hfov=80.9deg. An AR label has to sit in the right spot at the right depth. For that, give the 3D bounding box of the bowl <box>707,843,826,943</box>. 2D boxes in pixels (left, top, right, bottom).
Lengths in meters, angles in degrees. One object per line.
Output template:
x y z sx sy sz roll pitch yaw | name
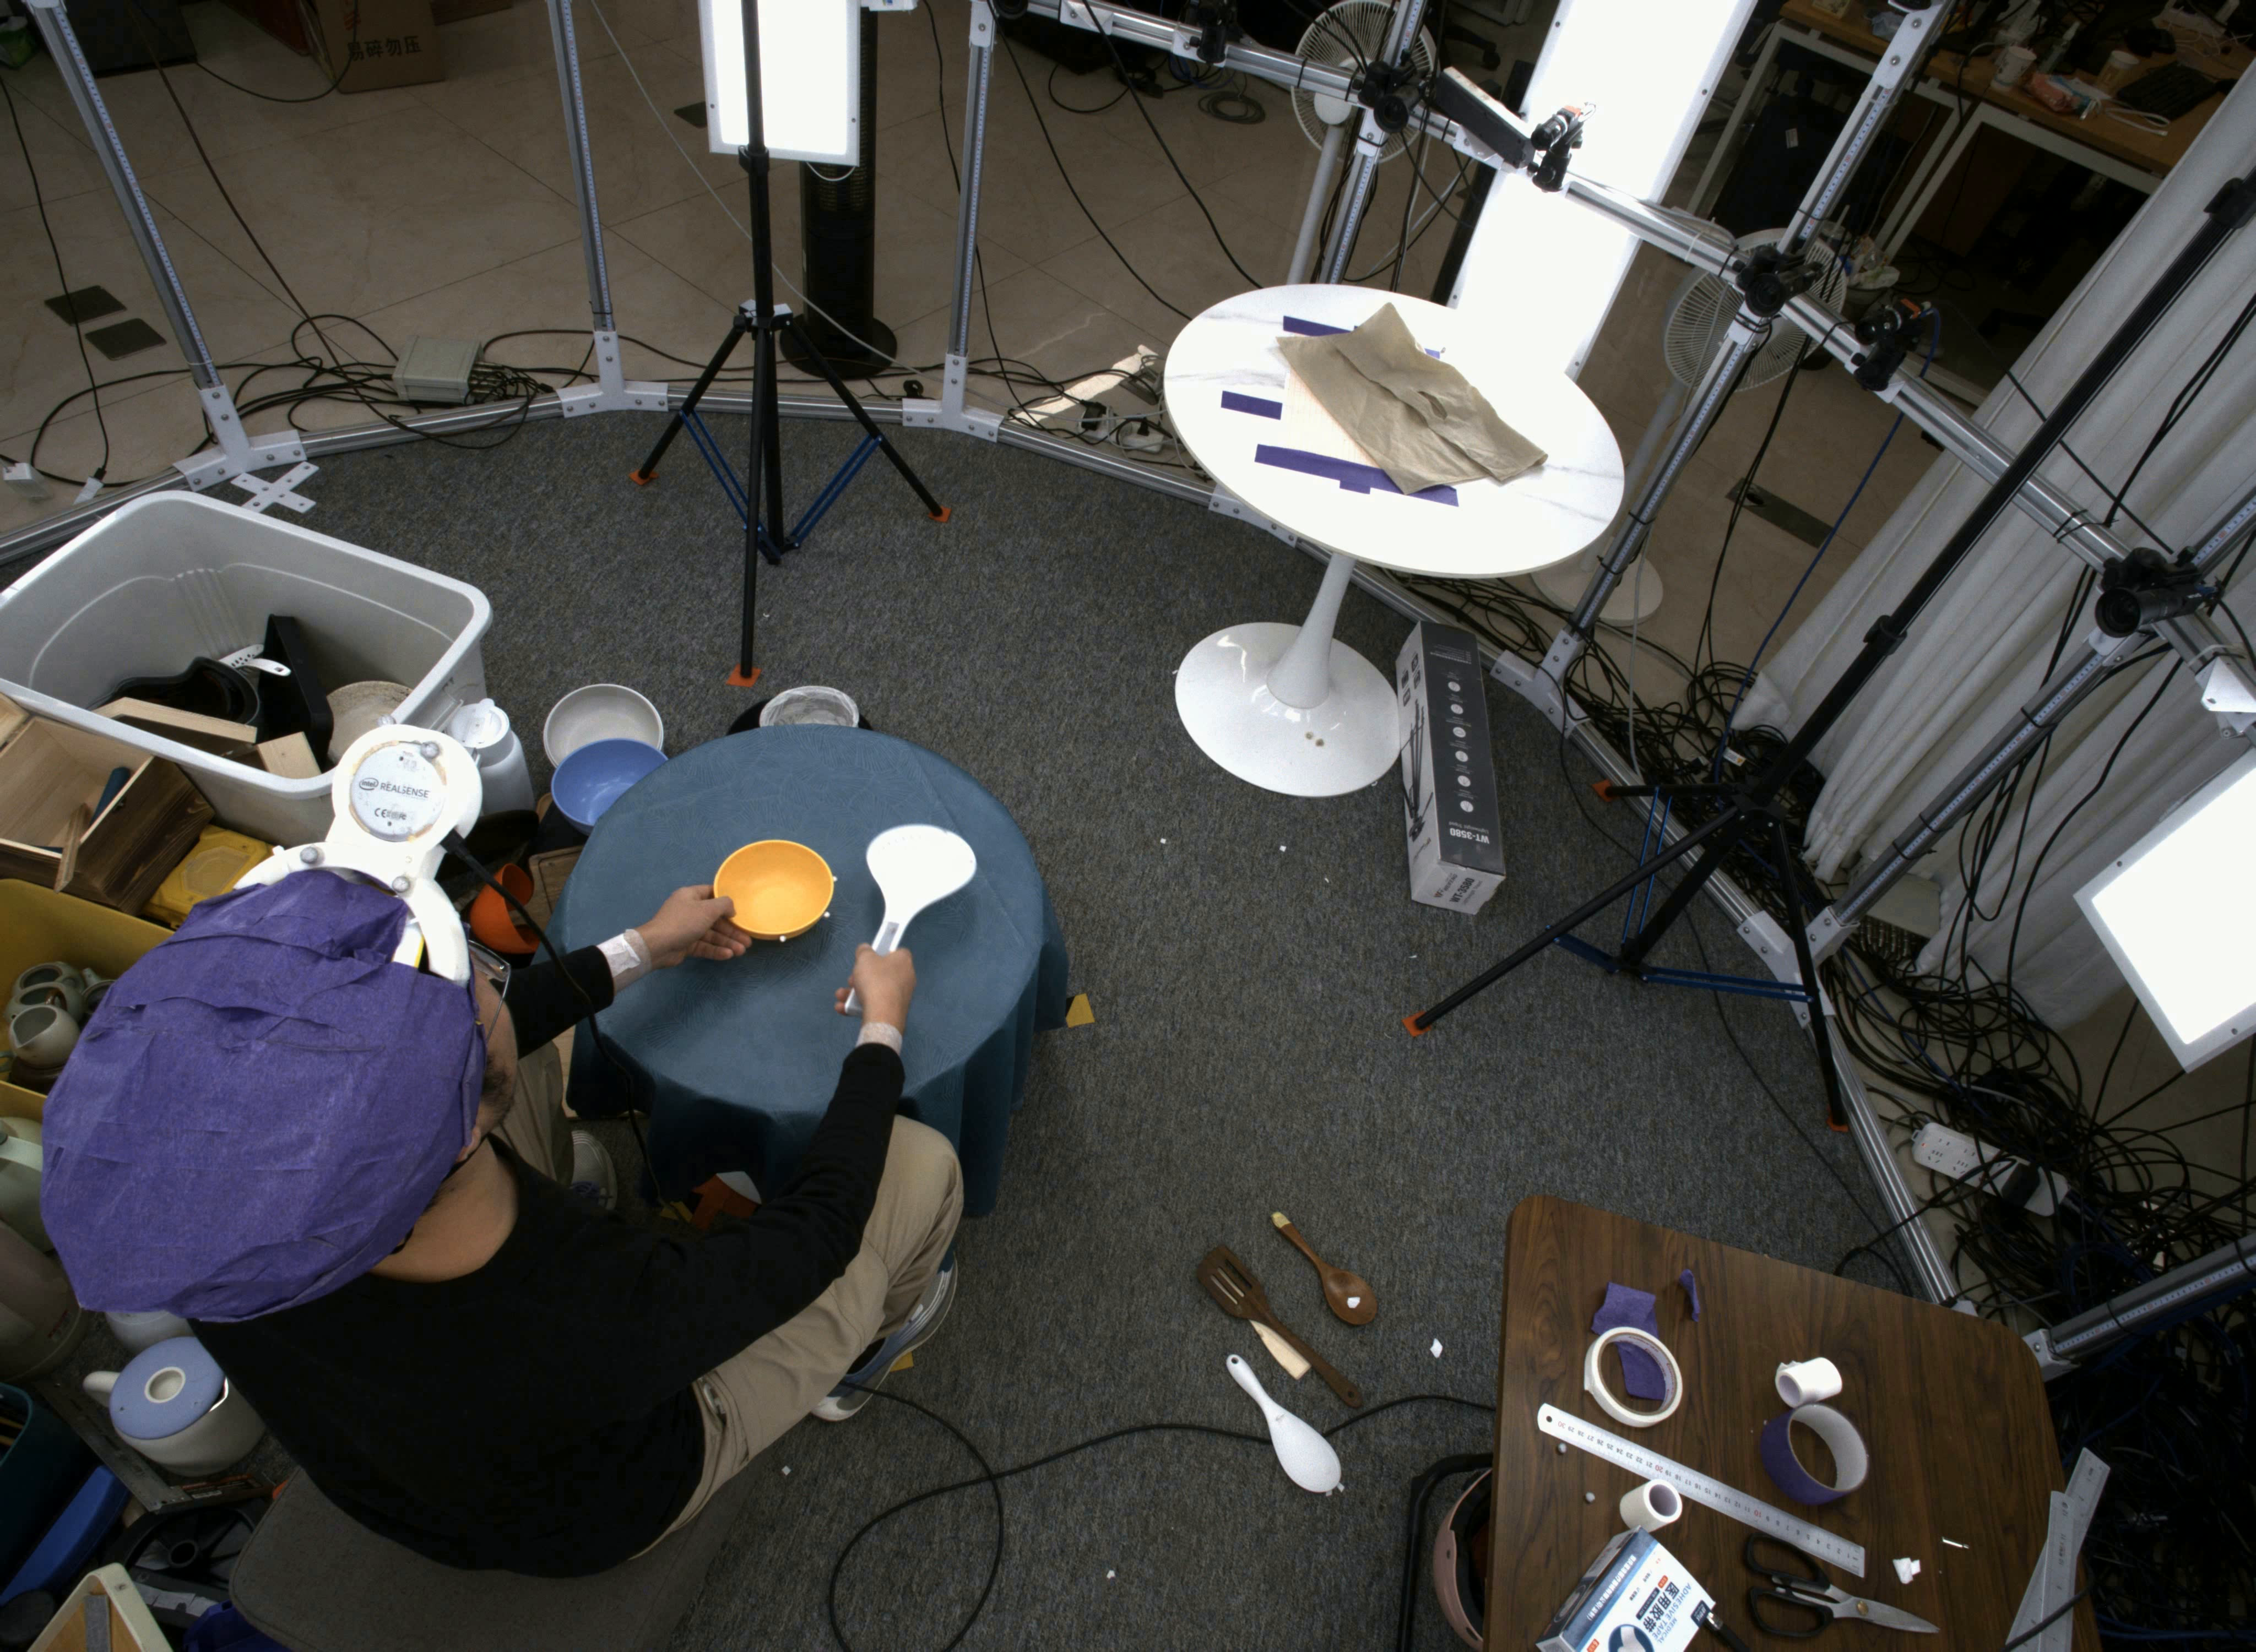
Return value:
-0.447 0.093 1.606 0.145 0.061 0.142 8 49 -8 | bowl

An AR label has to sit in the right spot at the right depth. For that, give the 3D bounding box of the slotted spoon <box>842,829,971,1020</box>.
-0.281 0.110 1.568 0.135 0.047 0.344 14 31 -1 | slotted spoon
